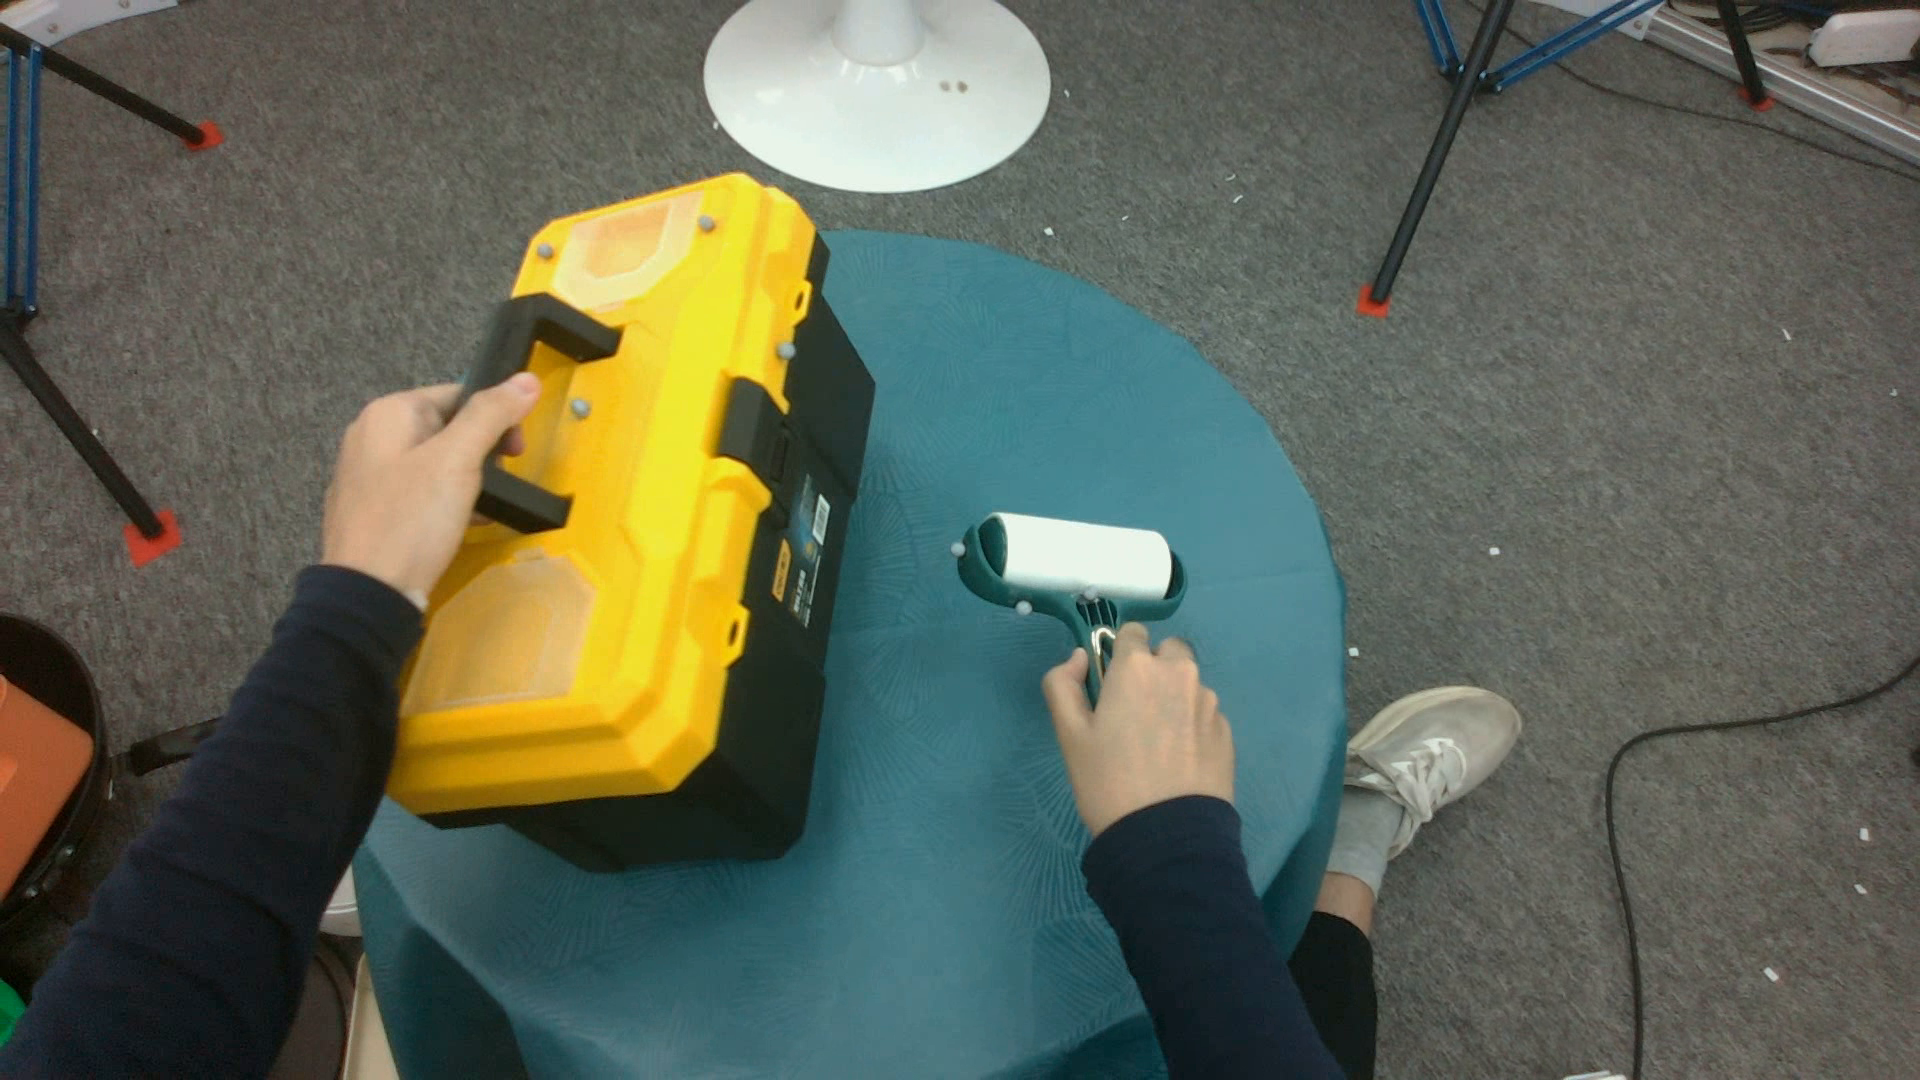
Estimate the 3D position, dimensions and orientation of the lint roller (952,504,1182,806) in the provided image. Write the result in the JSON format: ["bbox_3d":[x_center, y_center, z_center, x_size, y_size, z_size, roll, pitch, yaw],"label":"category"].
[{"bbox_3d":[0.075,0.052,0.706,0.134,0.048,0.180,6,38,-24],"label":"lint roller"}]

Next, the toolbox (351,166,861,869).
[{"bbox_3d":[-0.157,-0.013,0.719,0.181,0.172,0.353,-9,53,20],"label":"toolbox"}]
